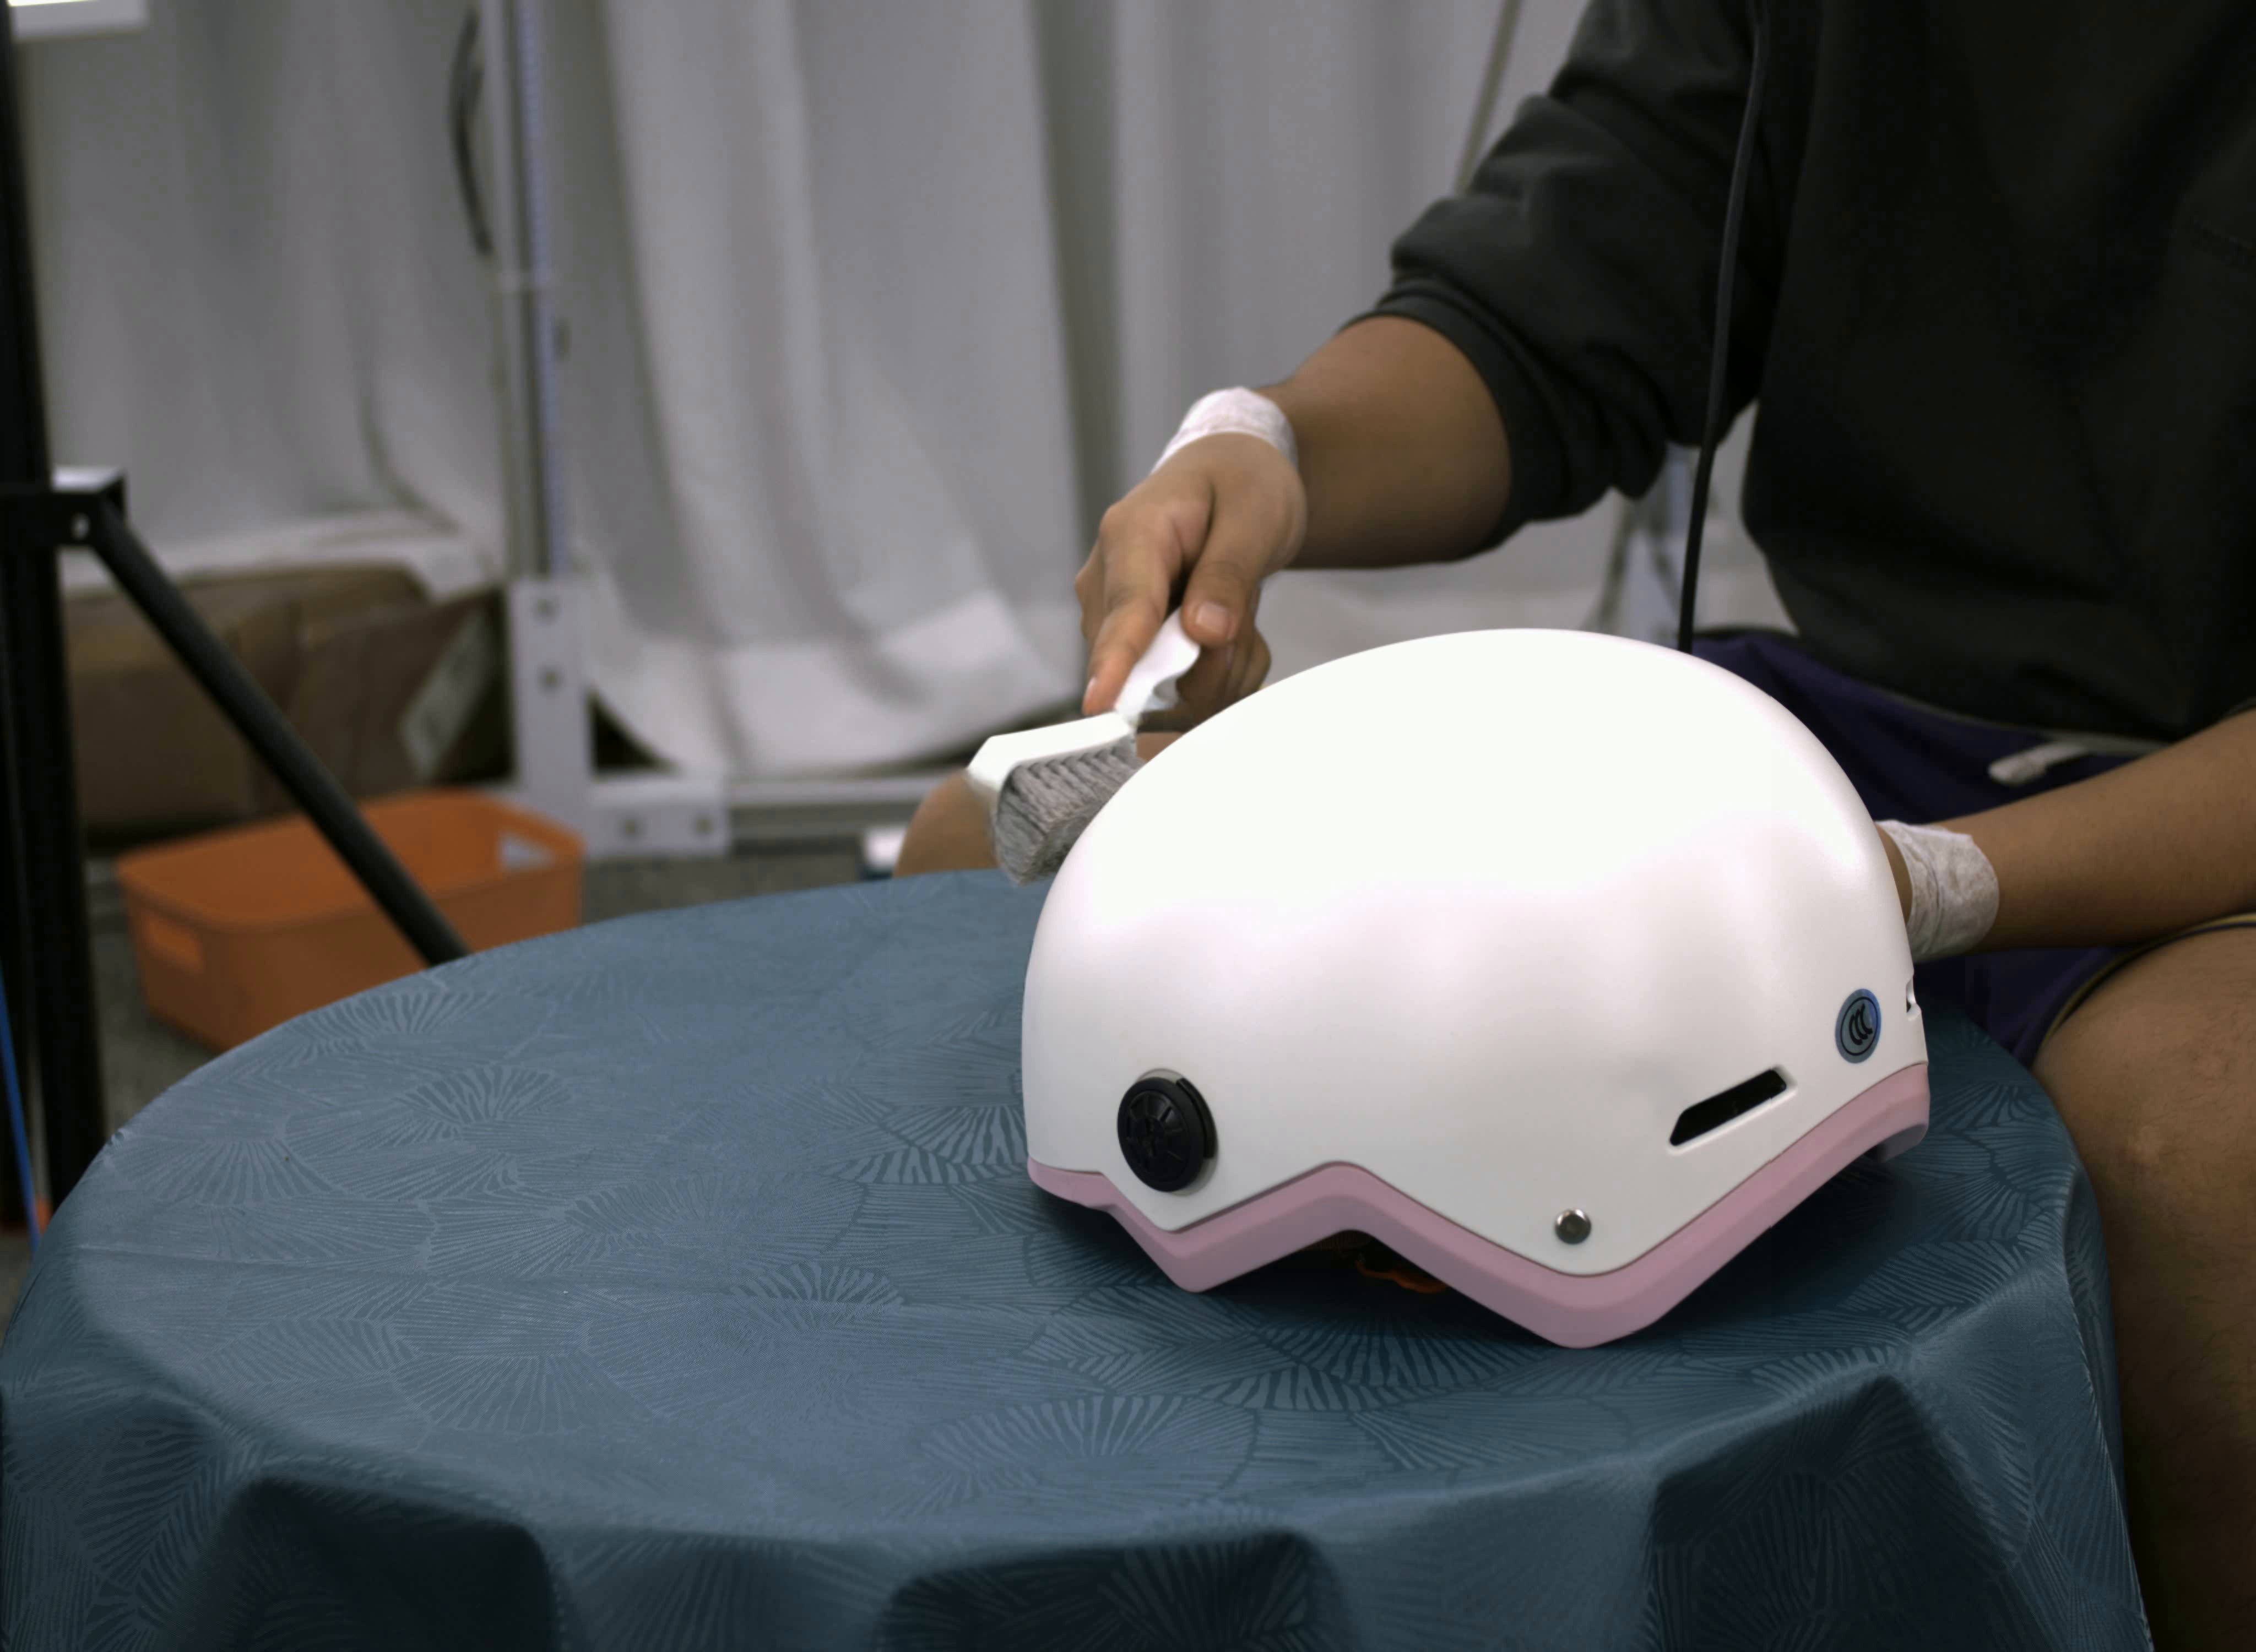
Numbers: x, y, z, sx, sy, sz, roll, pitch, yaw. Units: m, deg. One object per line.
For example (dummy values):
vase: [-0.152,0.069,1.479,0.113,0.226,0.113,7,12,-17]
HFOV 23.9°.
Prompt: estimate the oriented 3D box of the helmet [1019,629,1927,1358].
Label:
helmet: [0.093,0.028,1.515,0.274,0.167,0.232,10,23,38]

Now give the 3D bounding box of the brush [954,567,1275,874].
brush: [0.014,-0.034,1.669,0.050,0.034,0.240,34,26,11]
